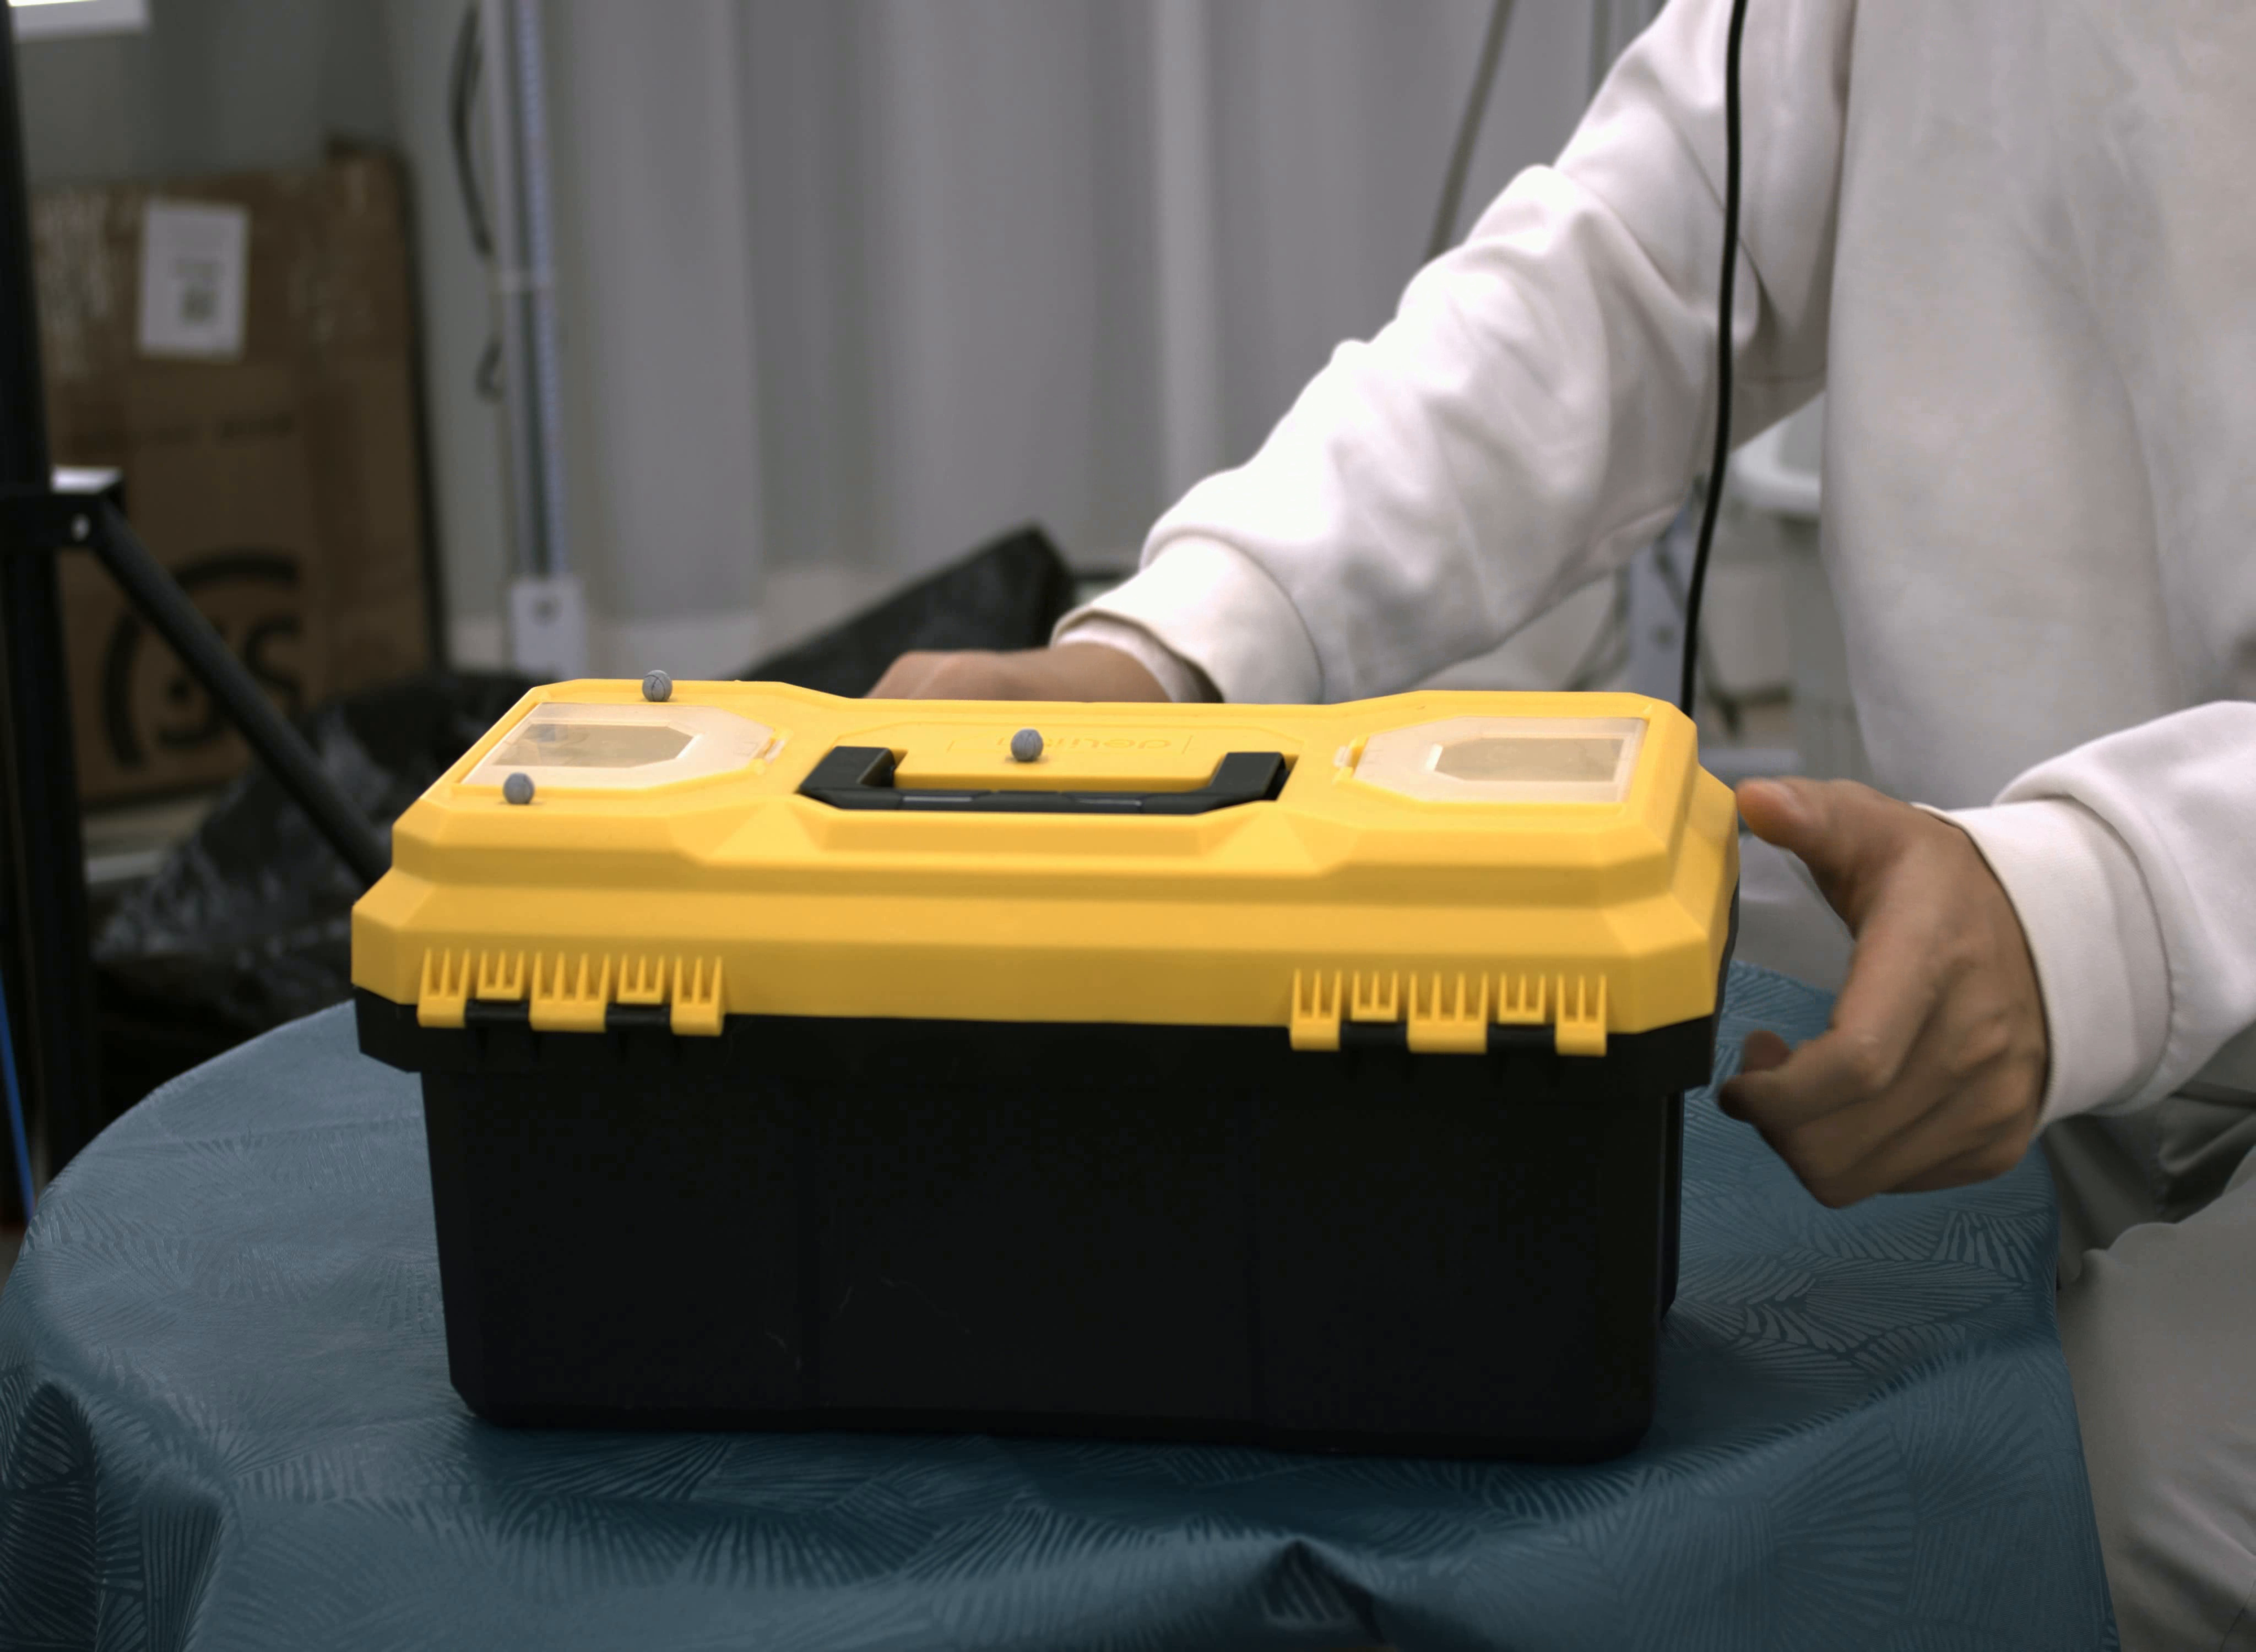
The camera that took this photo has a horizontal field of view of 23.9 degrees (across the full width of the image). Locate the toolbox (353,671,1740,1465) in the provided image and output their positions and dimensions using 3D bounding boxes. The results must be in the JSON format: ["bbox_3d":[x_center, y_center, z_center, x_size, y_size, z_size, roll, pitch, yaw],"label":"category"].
[{"bbox_3d":[-0.016,0.061,1.411,0.353,0.173,0.180,1,17,11],"label":"toolbox"}]

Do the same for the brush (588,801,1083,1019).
[{"bbox_3d":[-0.083,0.024,1.699,0.069,0.056,0.261,19,9,23],"label":"brush"}]
